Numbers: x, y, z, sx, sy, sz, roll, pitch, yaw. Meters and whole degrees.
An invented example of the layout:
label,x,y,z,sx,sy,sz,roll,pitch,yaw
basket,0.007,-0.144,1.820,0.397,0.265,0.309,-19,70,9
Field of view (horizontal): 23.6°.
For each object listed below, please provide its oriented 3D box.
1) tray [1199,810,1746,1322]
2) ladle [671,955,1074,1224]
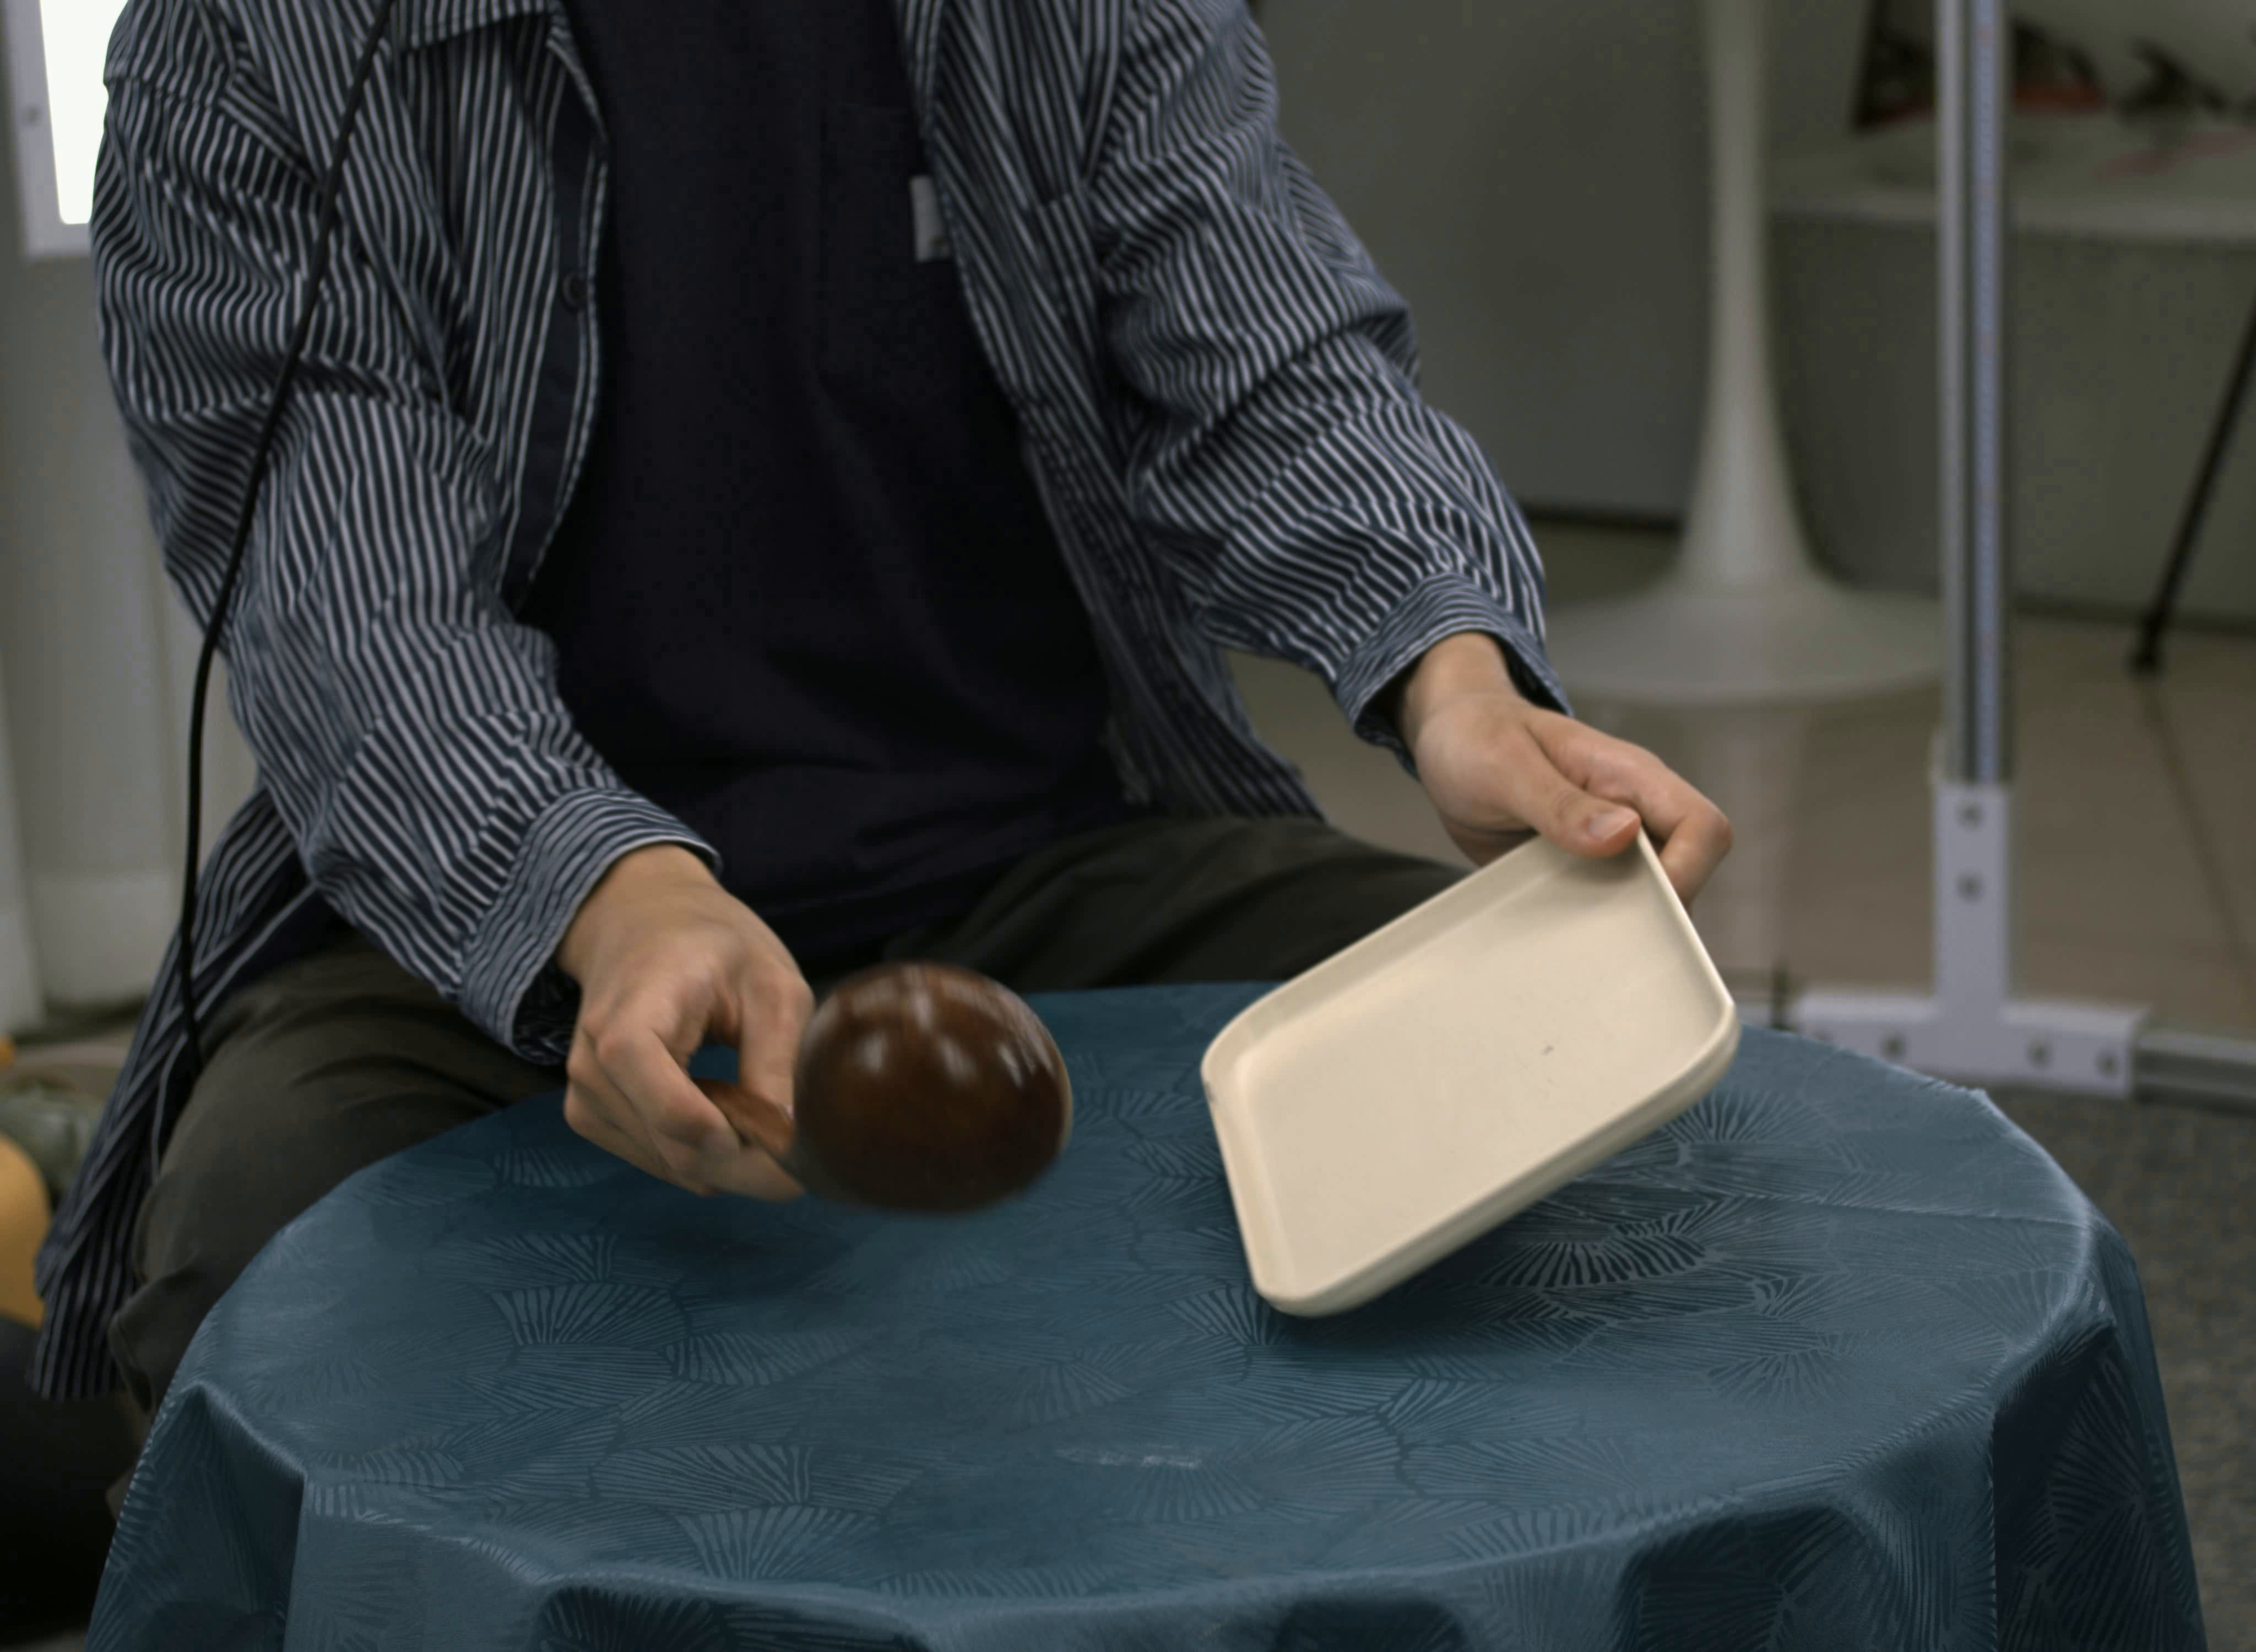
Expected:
label,x,y,z,sx,sy,sz,roll,pitch,yaw
tray,0.107,0.074,1.699,0.171,0.017,0.240,-32,18,6
ladle,-0.084,0.076,1.620,0.076,0.082,0.276,-43,10,-10
